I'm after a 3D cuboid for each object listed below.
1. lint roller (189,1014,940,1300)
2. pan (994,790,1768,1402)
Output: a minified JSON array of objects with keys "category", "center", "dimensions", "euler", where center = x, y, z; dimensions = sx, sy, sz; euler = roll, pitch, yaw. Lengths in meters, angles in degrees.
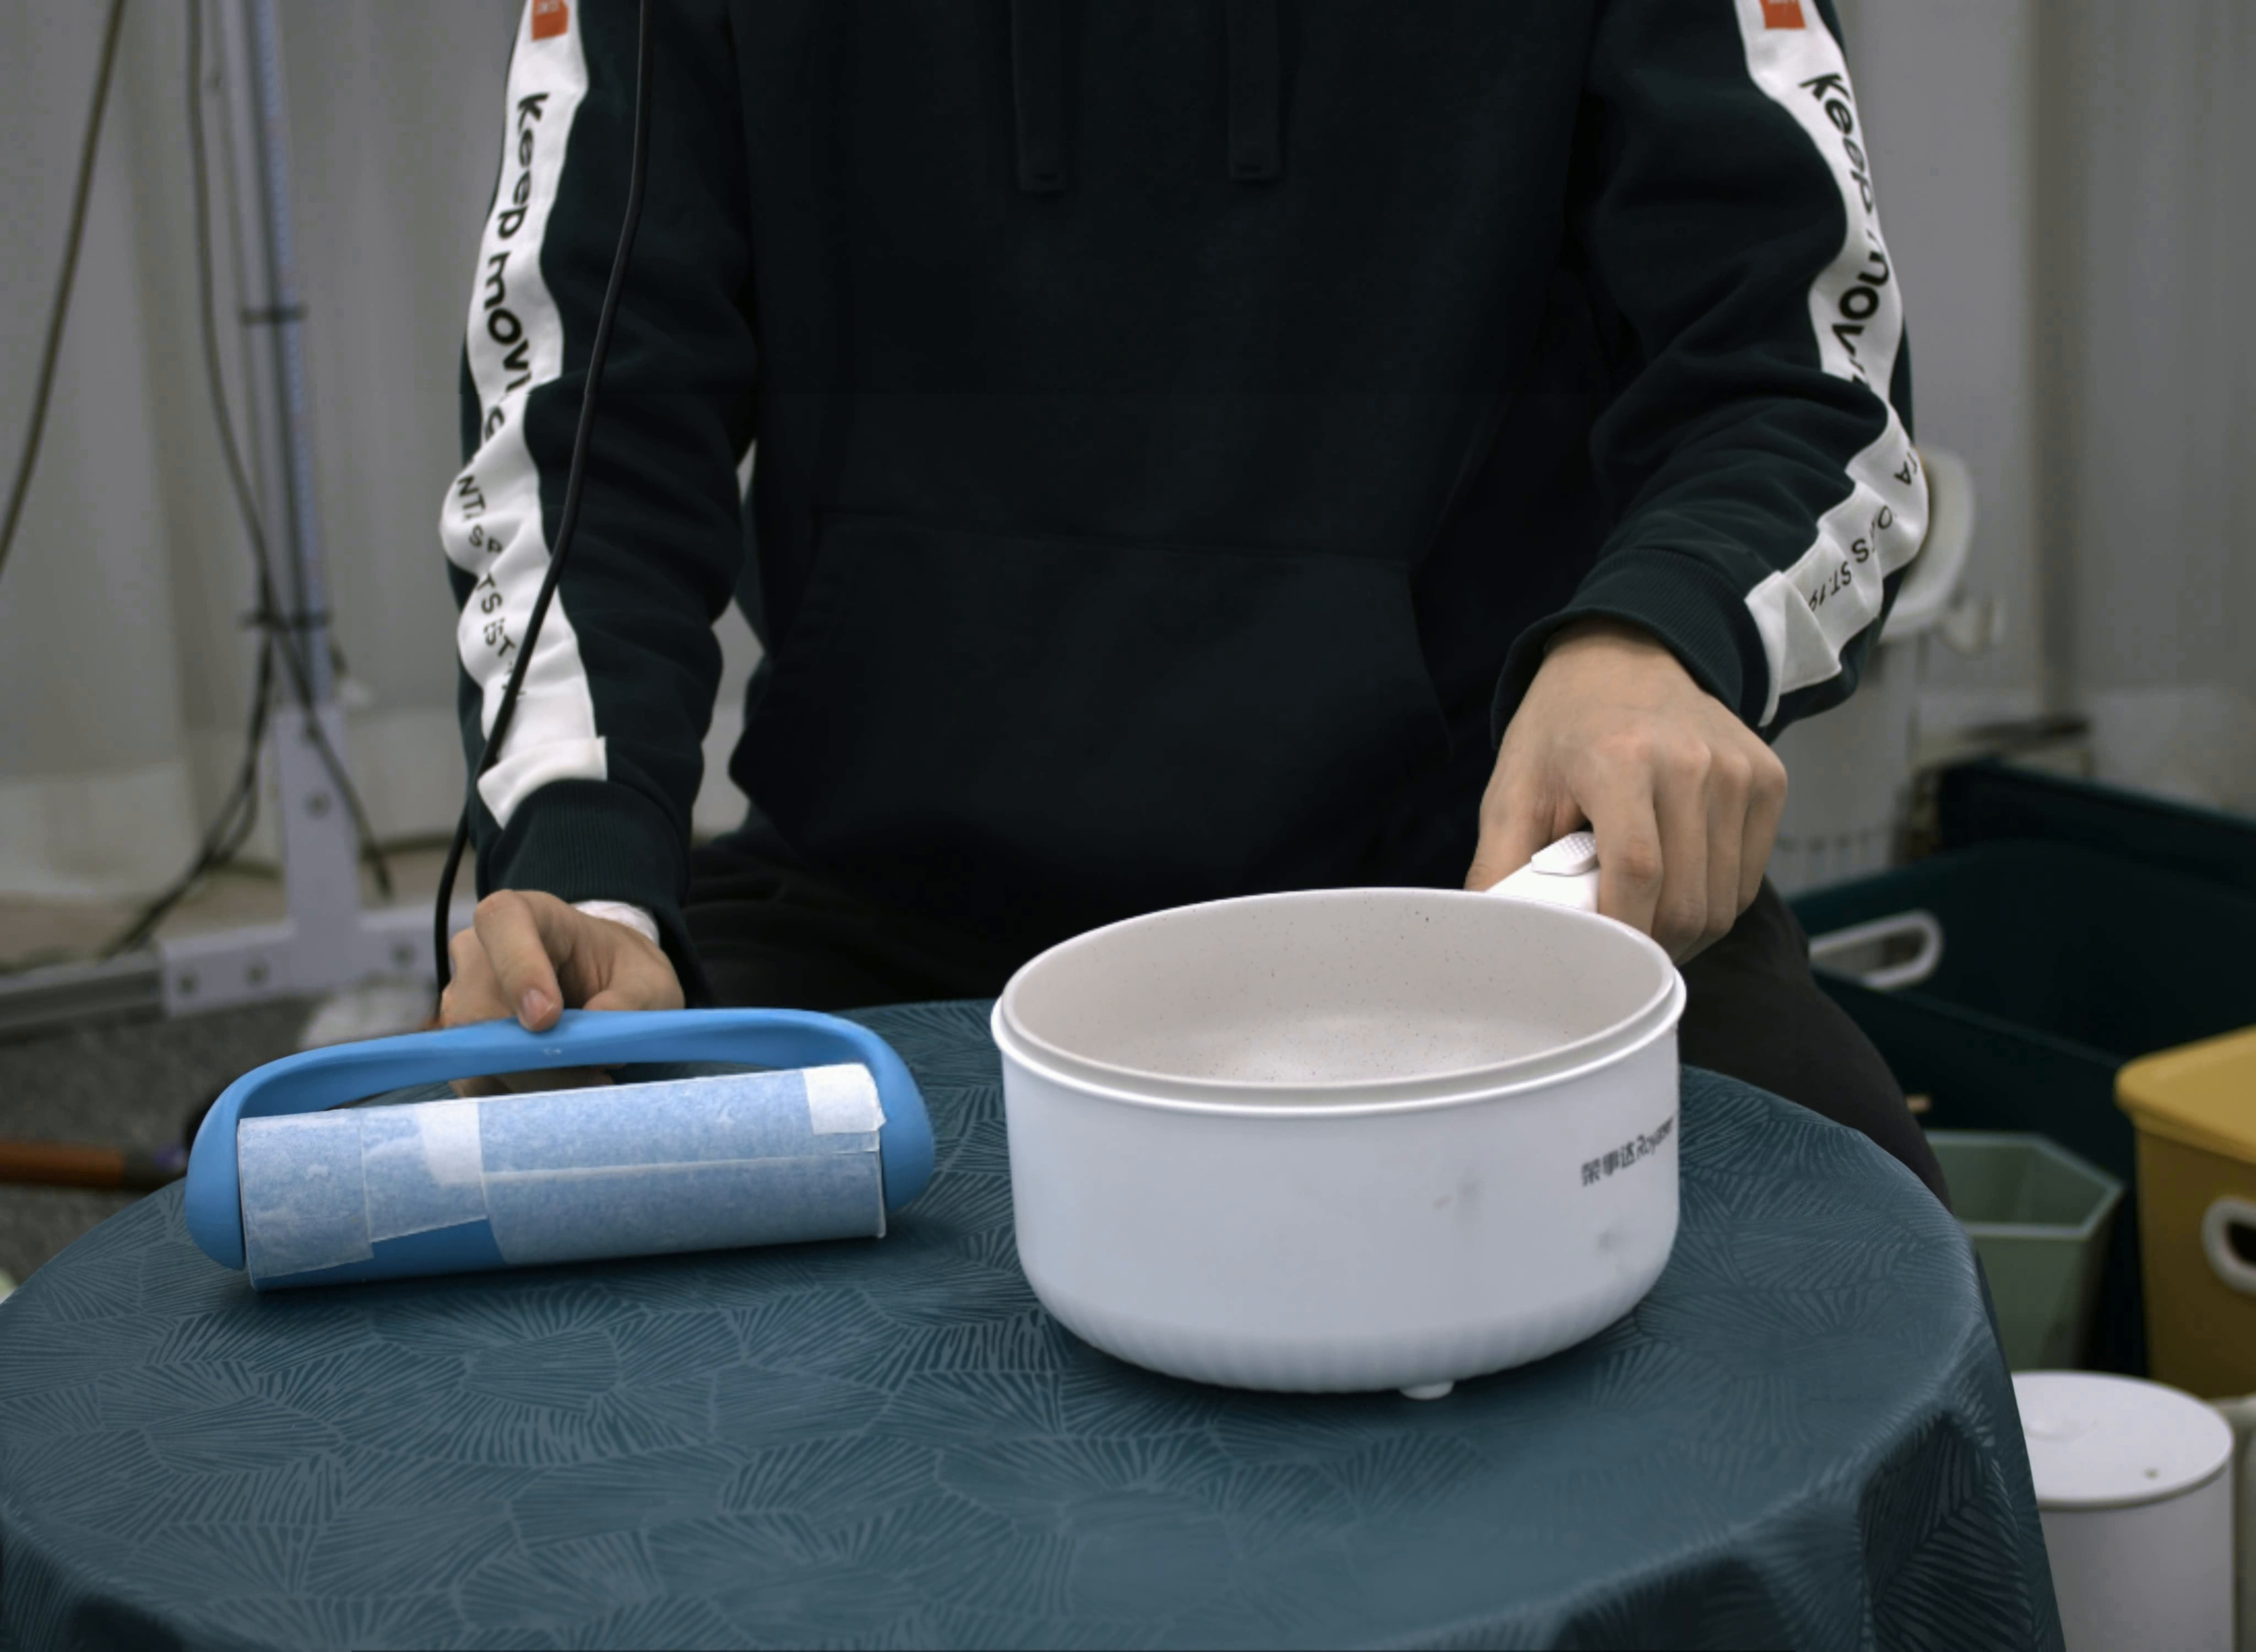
[{"category":"lint roller","center":[-0.182,0.092,1.726],"dimensions":[0.228,0.067,0.182],"euler":[-7,16,-9]},{"category":"pan","center":[0.102,0.076,1.651],"dimensions":[0.201,0.102,0.355],"euler":[4,16,30]}]
